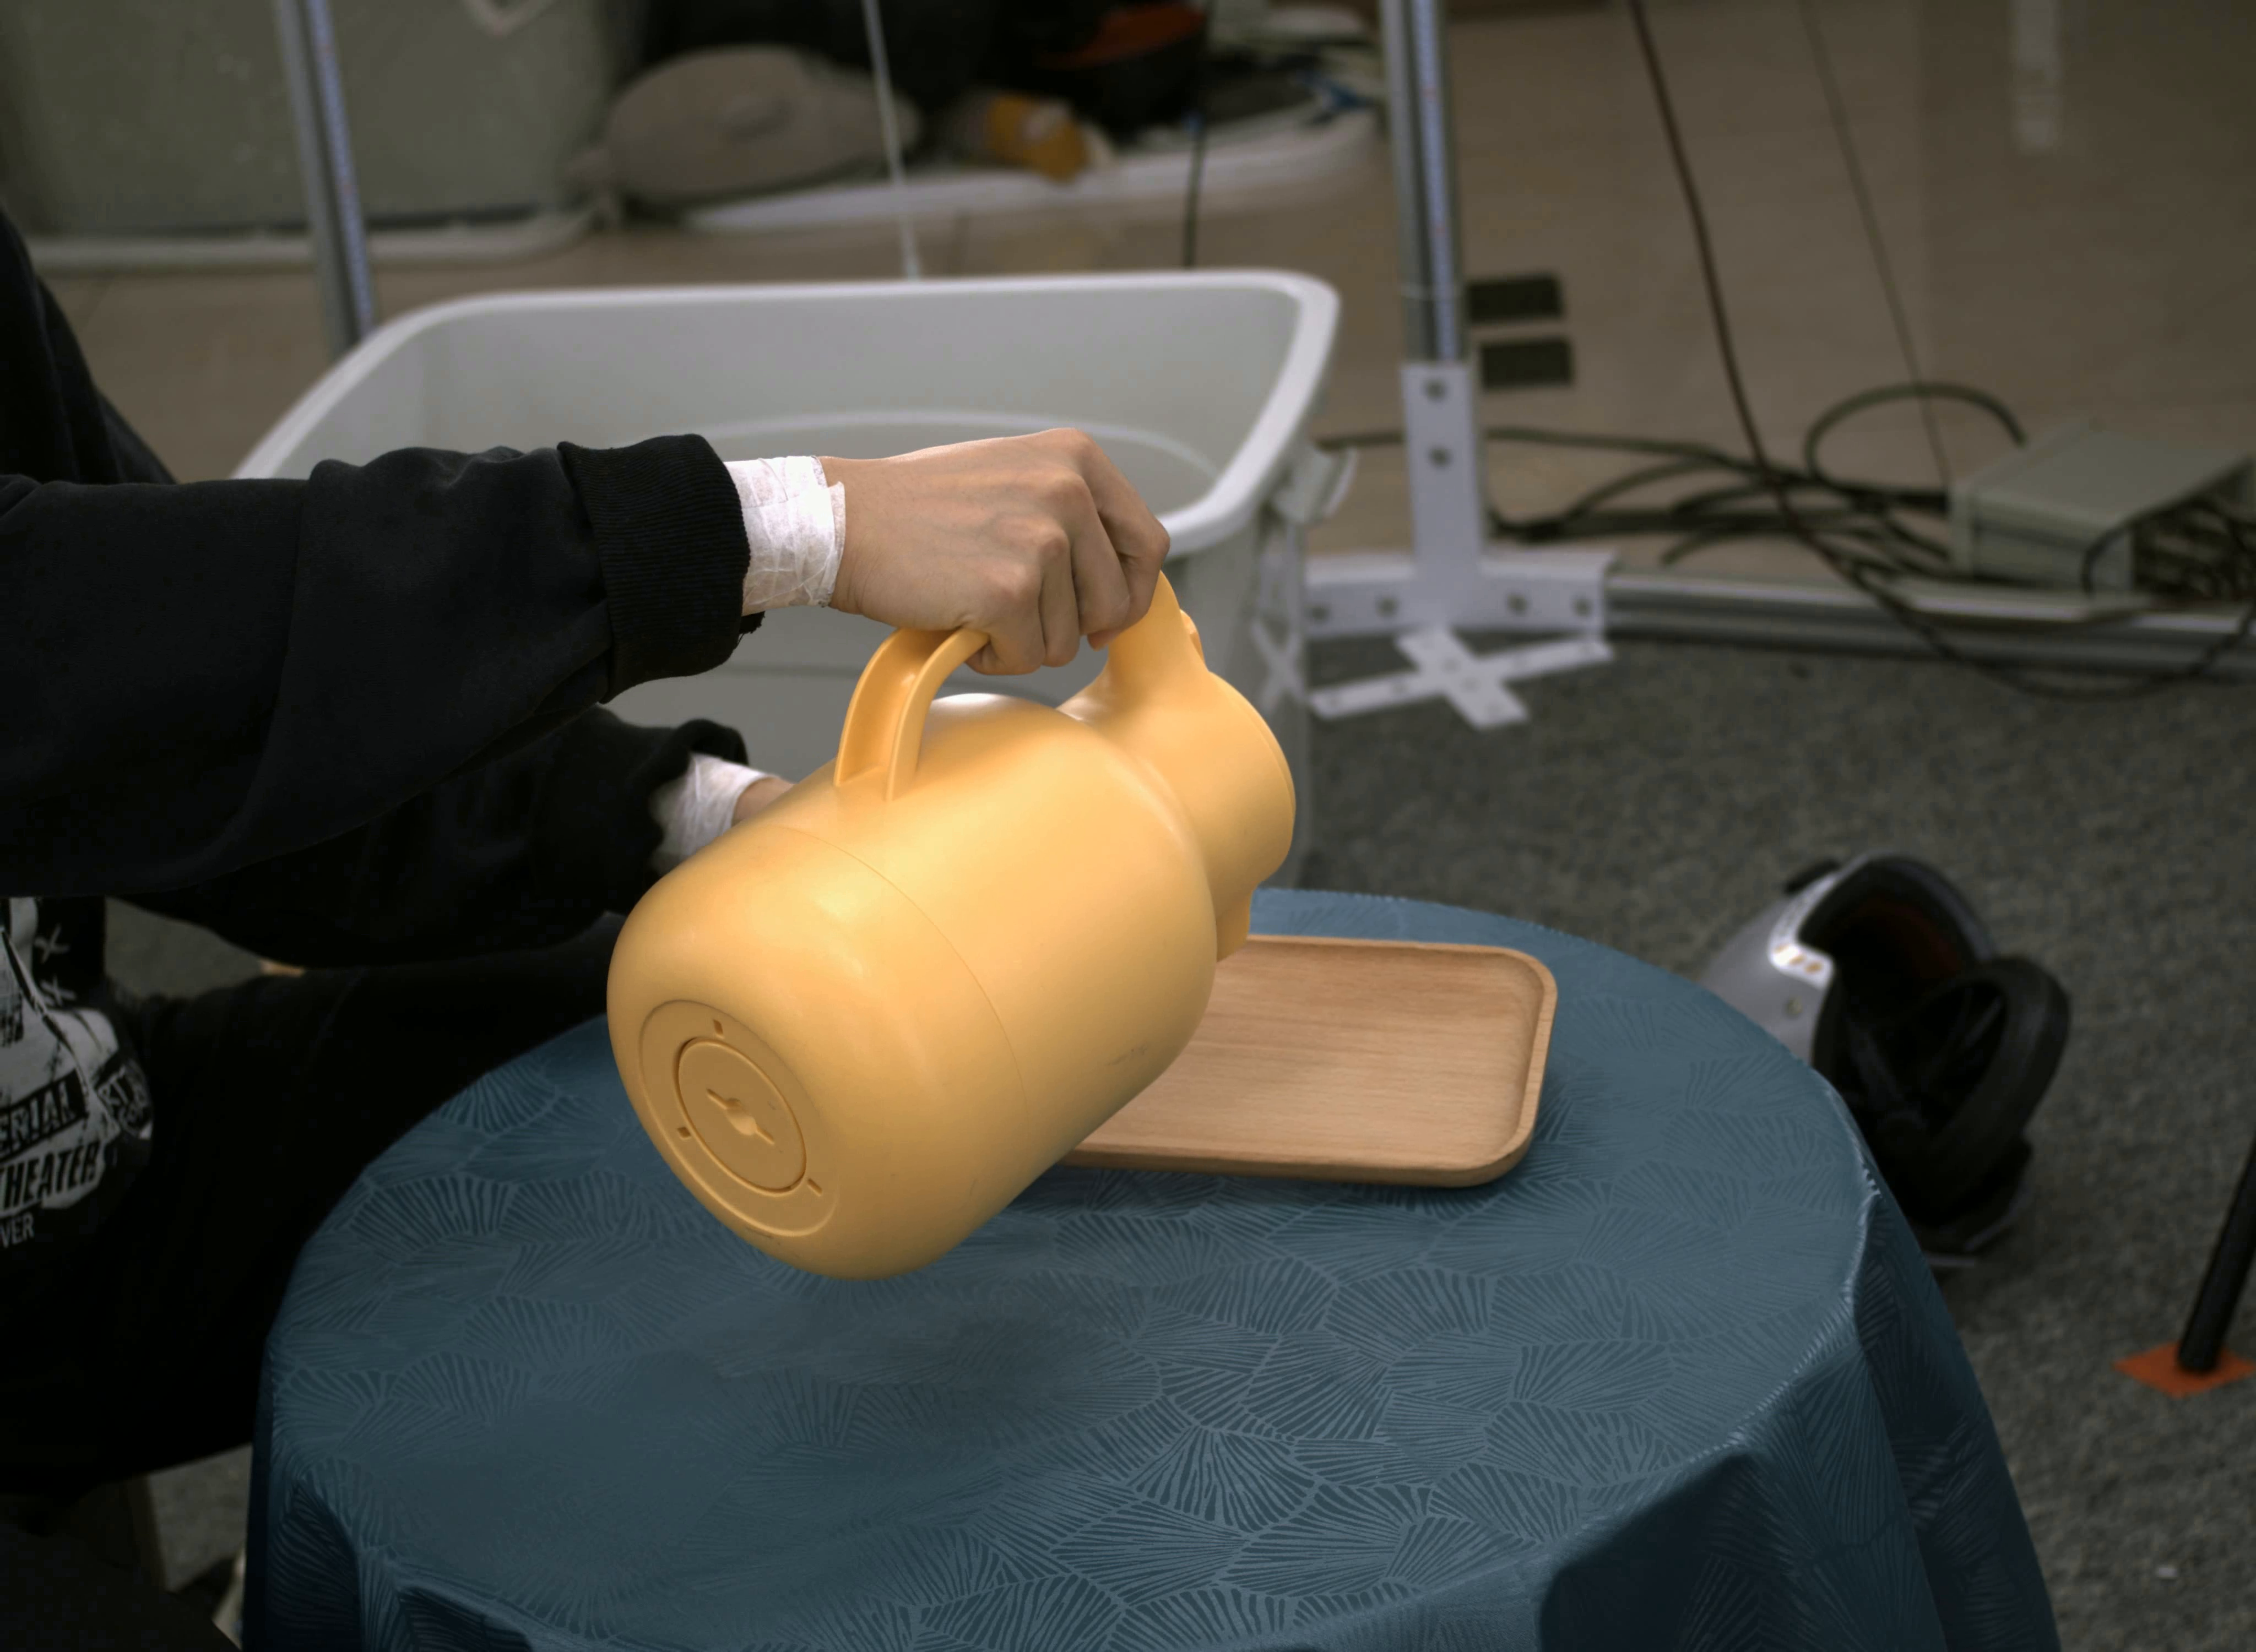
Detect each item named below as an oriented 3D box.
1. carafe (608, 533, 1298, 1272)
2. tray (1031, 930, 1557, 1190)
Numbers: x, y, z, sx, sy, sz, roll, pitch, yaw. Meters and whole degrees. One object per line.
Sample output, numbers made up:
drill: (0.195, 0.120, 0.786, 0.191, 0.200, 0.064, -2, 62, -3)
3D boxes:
carafe: (-0.055, 0.018, 1.999, 0.162, 0.206, 0.257, 13, 37, 40)
tray: (0.036, 0.087, 2.183, 0.250, 0.023, 0.128, 3, 39, 13)
